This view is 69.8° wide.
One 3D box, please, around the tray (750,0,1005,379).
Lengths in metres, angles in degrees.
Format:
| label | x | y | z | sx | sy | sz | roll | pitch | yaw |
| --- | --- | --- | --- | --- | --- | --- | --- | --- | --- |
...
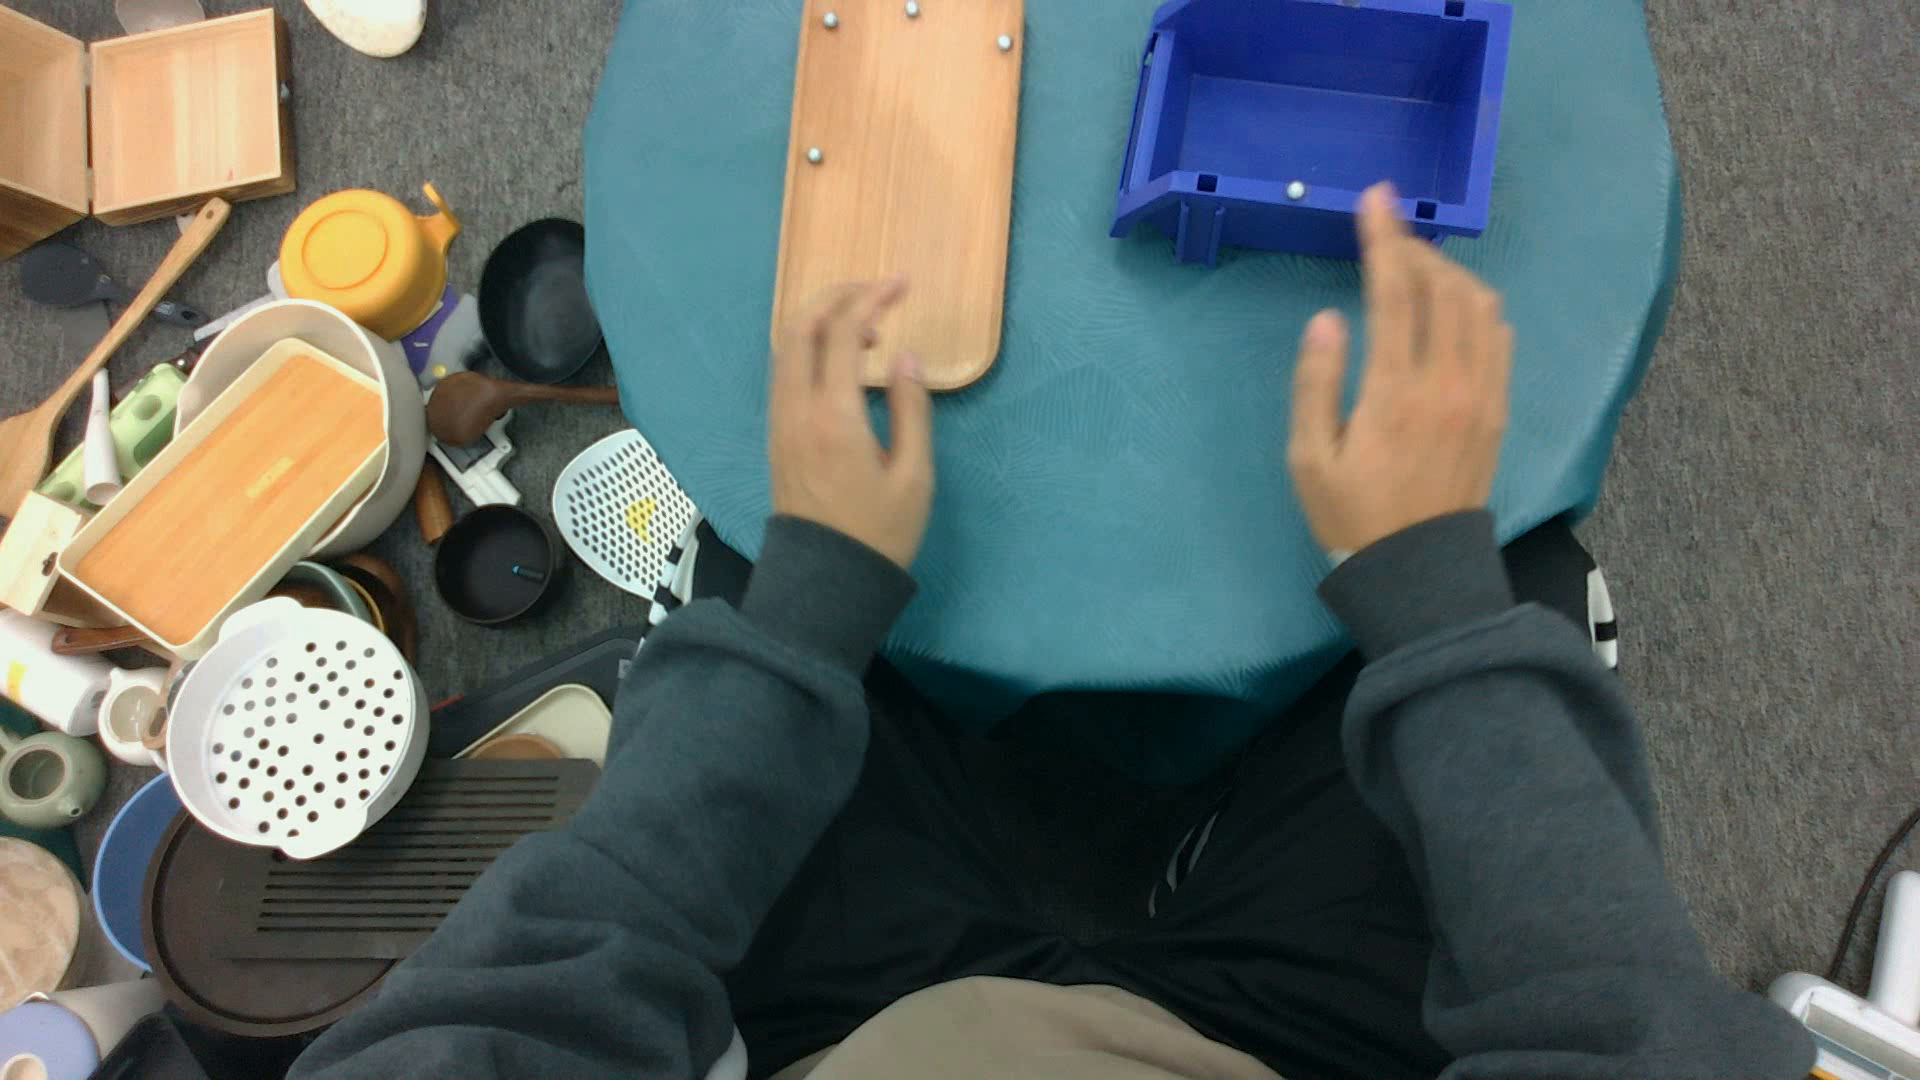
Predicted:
| label | x | y | z | sx | sy | sz | roll | pitch | yaw |
| --- | --- | --- | --- | --- | --- | --- | --- | --- | --- |
| tray | -0.044 | -0.209 | 0.767 | 0.130 | 0.023 | 0.251 | 3 | 79 | 8 |

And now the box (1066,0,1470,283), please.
| label | x | y | z | sx | sy | sz | roll | pitch | yaw |
| --- | --- | --- | --- | --- | --- | --- | --- | --- | --- |
| box | 0.155 | -0.217 | 0.719 | 0.179 | 0.082 | 0.124 | 12 | 80 | 4 |
